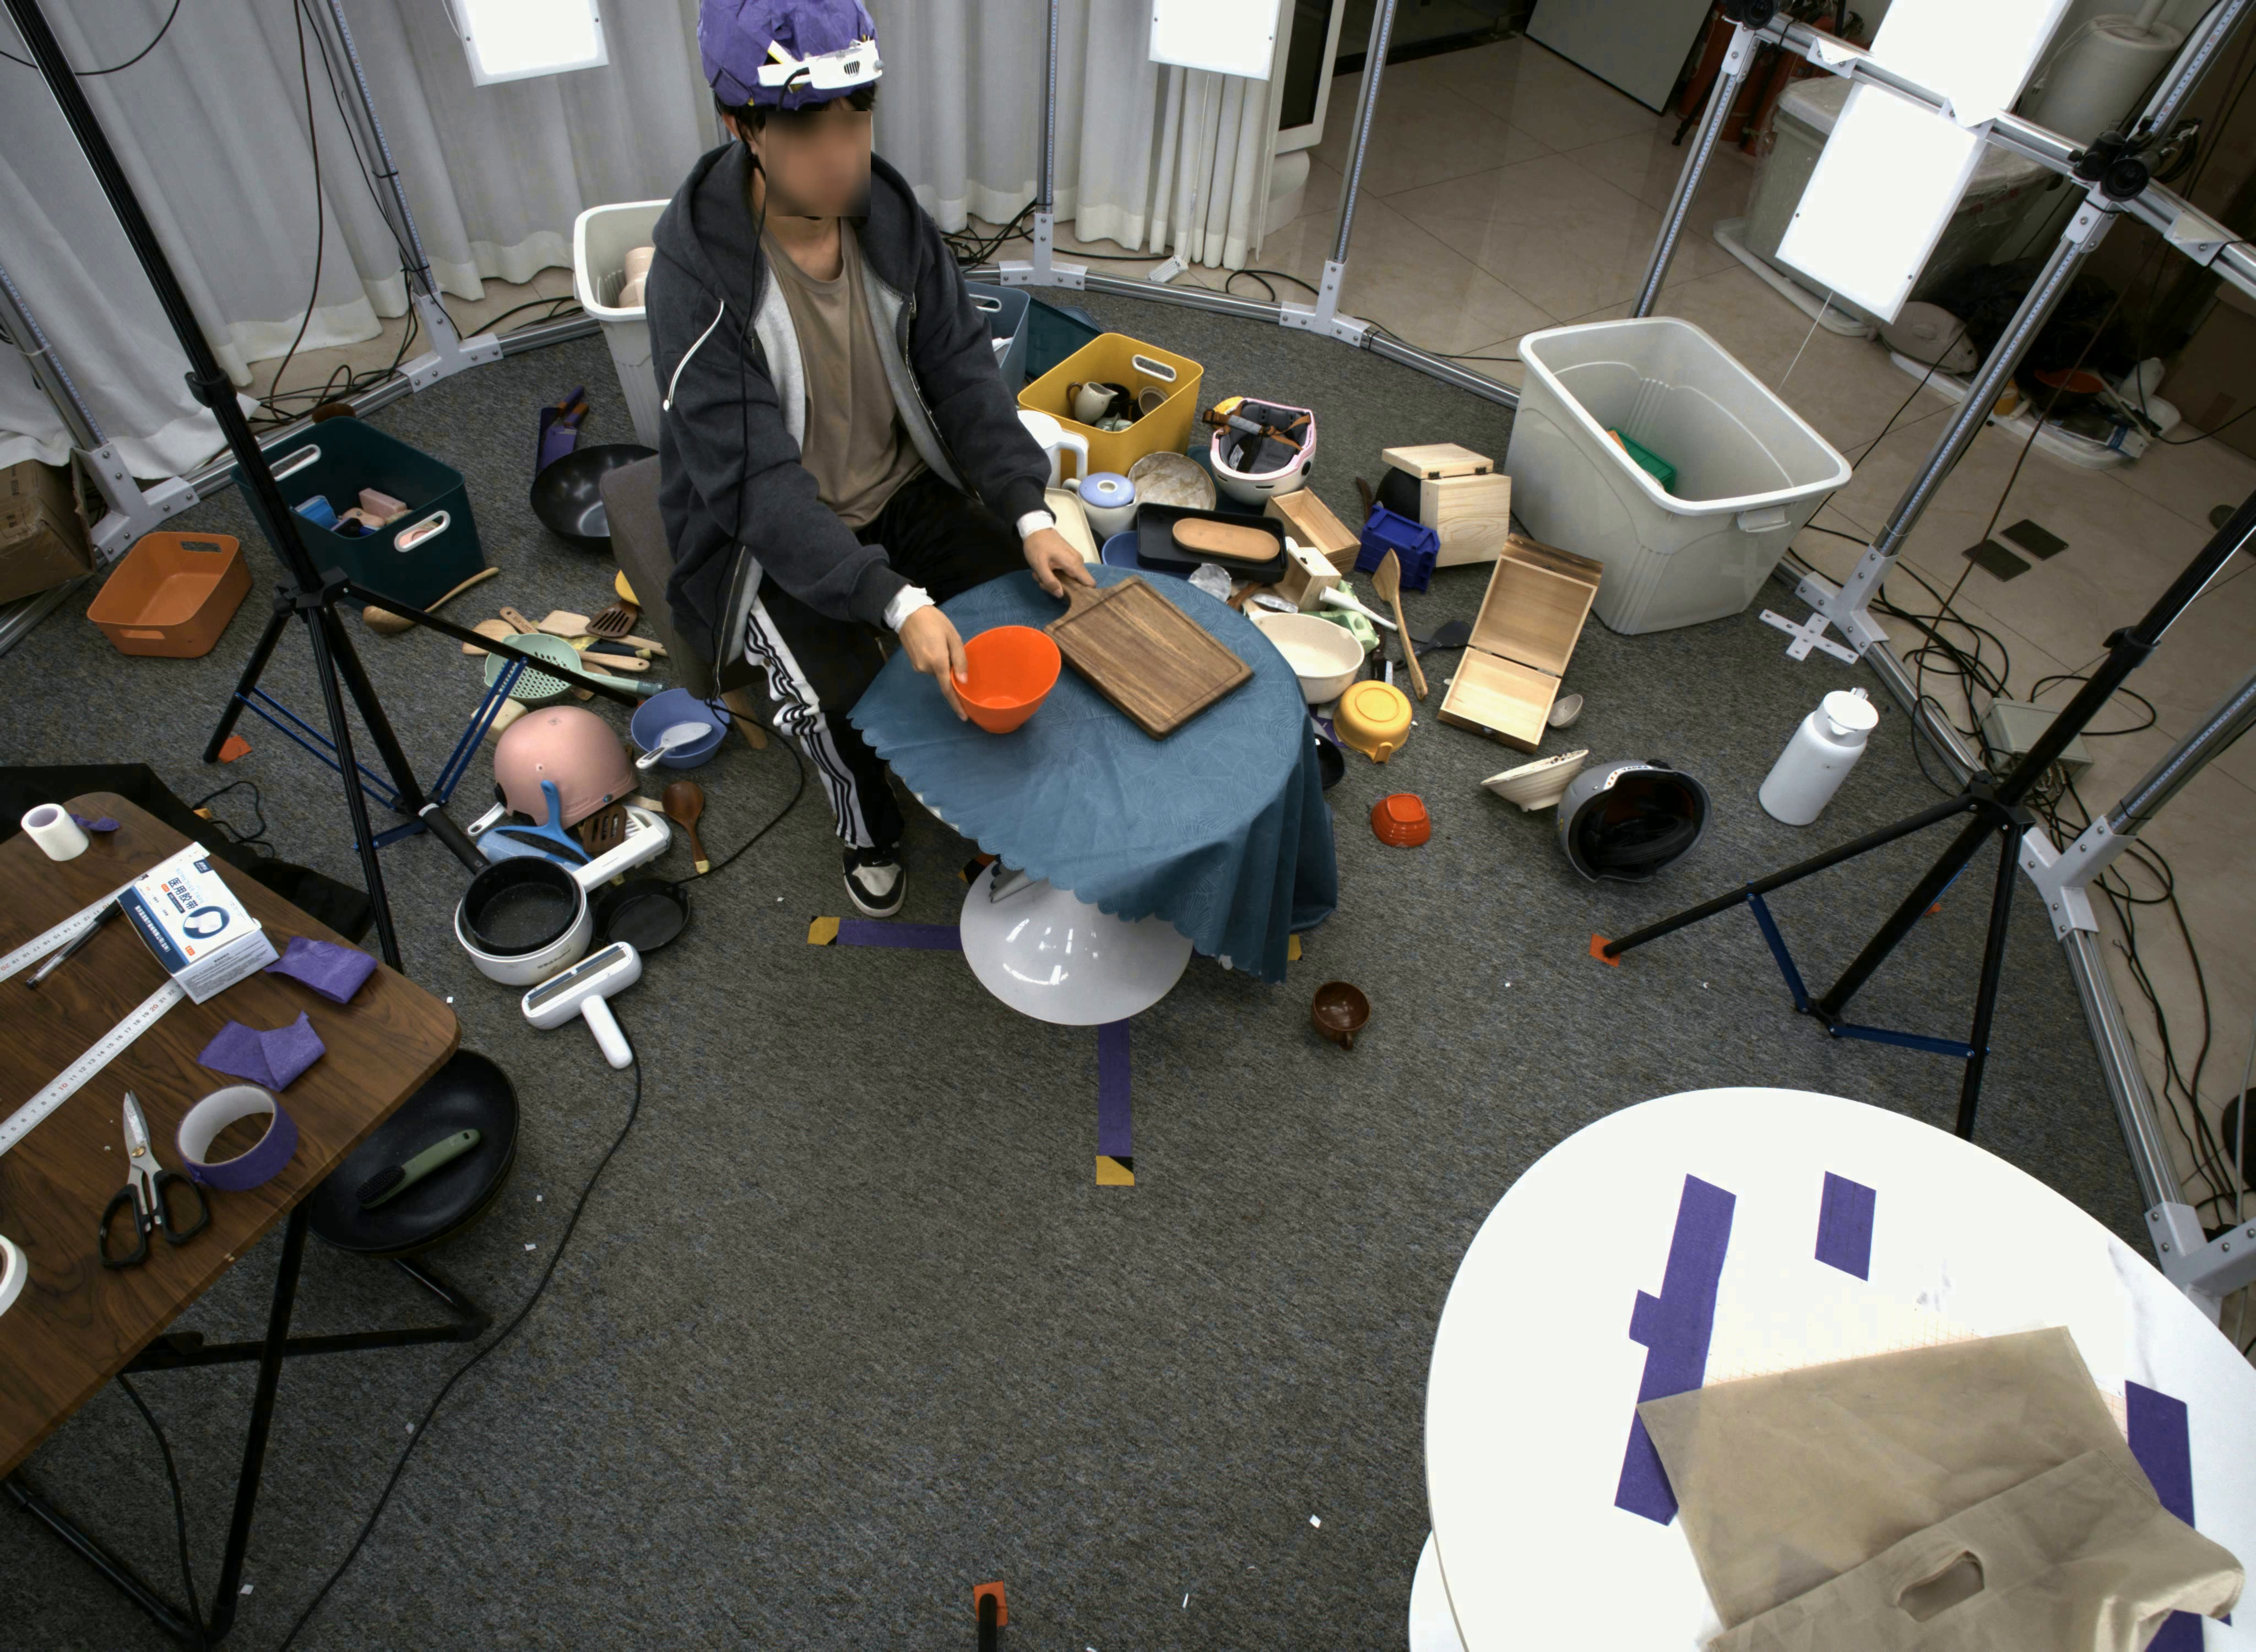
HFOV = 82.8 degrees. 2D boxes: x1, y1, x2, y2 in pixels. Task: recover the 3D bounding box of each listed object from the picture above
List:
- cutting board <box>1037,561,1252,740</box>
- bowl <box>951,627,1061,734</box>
[{"bbox_3d":[-0.007,-0.281,1.877,0.203,0.022,0.357,-34,64,-29],"label":"cutting board"},{"bbox_3d":[-0.166,-0.188,1.753,0.148,0.102,0.152,2,49,-3],"label":"bowl"}]
